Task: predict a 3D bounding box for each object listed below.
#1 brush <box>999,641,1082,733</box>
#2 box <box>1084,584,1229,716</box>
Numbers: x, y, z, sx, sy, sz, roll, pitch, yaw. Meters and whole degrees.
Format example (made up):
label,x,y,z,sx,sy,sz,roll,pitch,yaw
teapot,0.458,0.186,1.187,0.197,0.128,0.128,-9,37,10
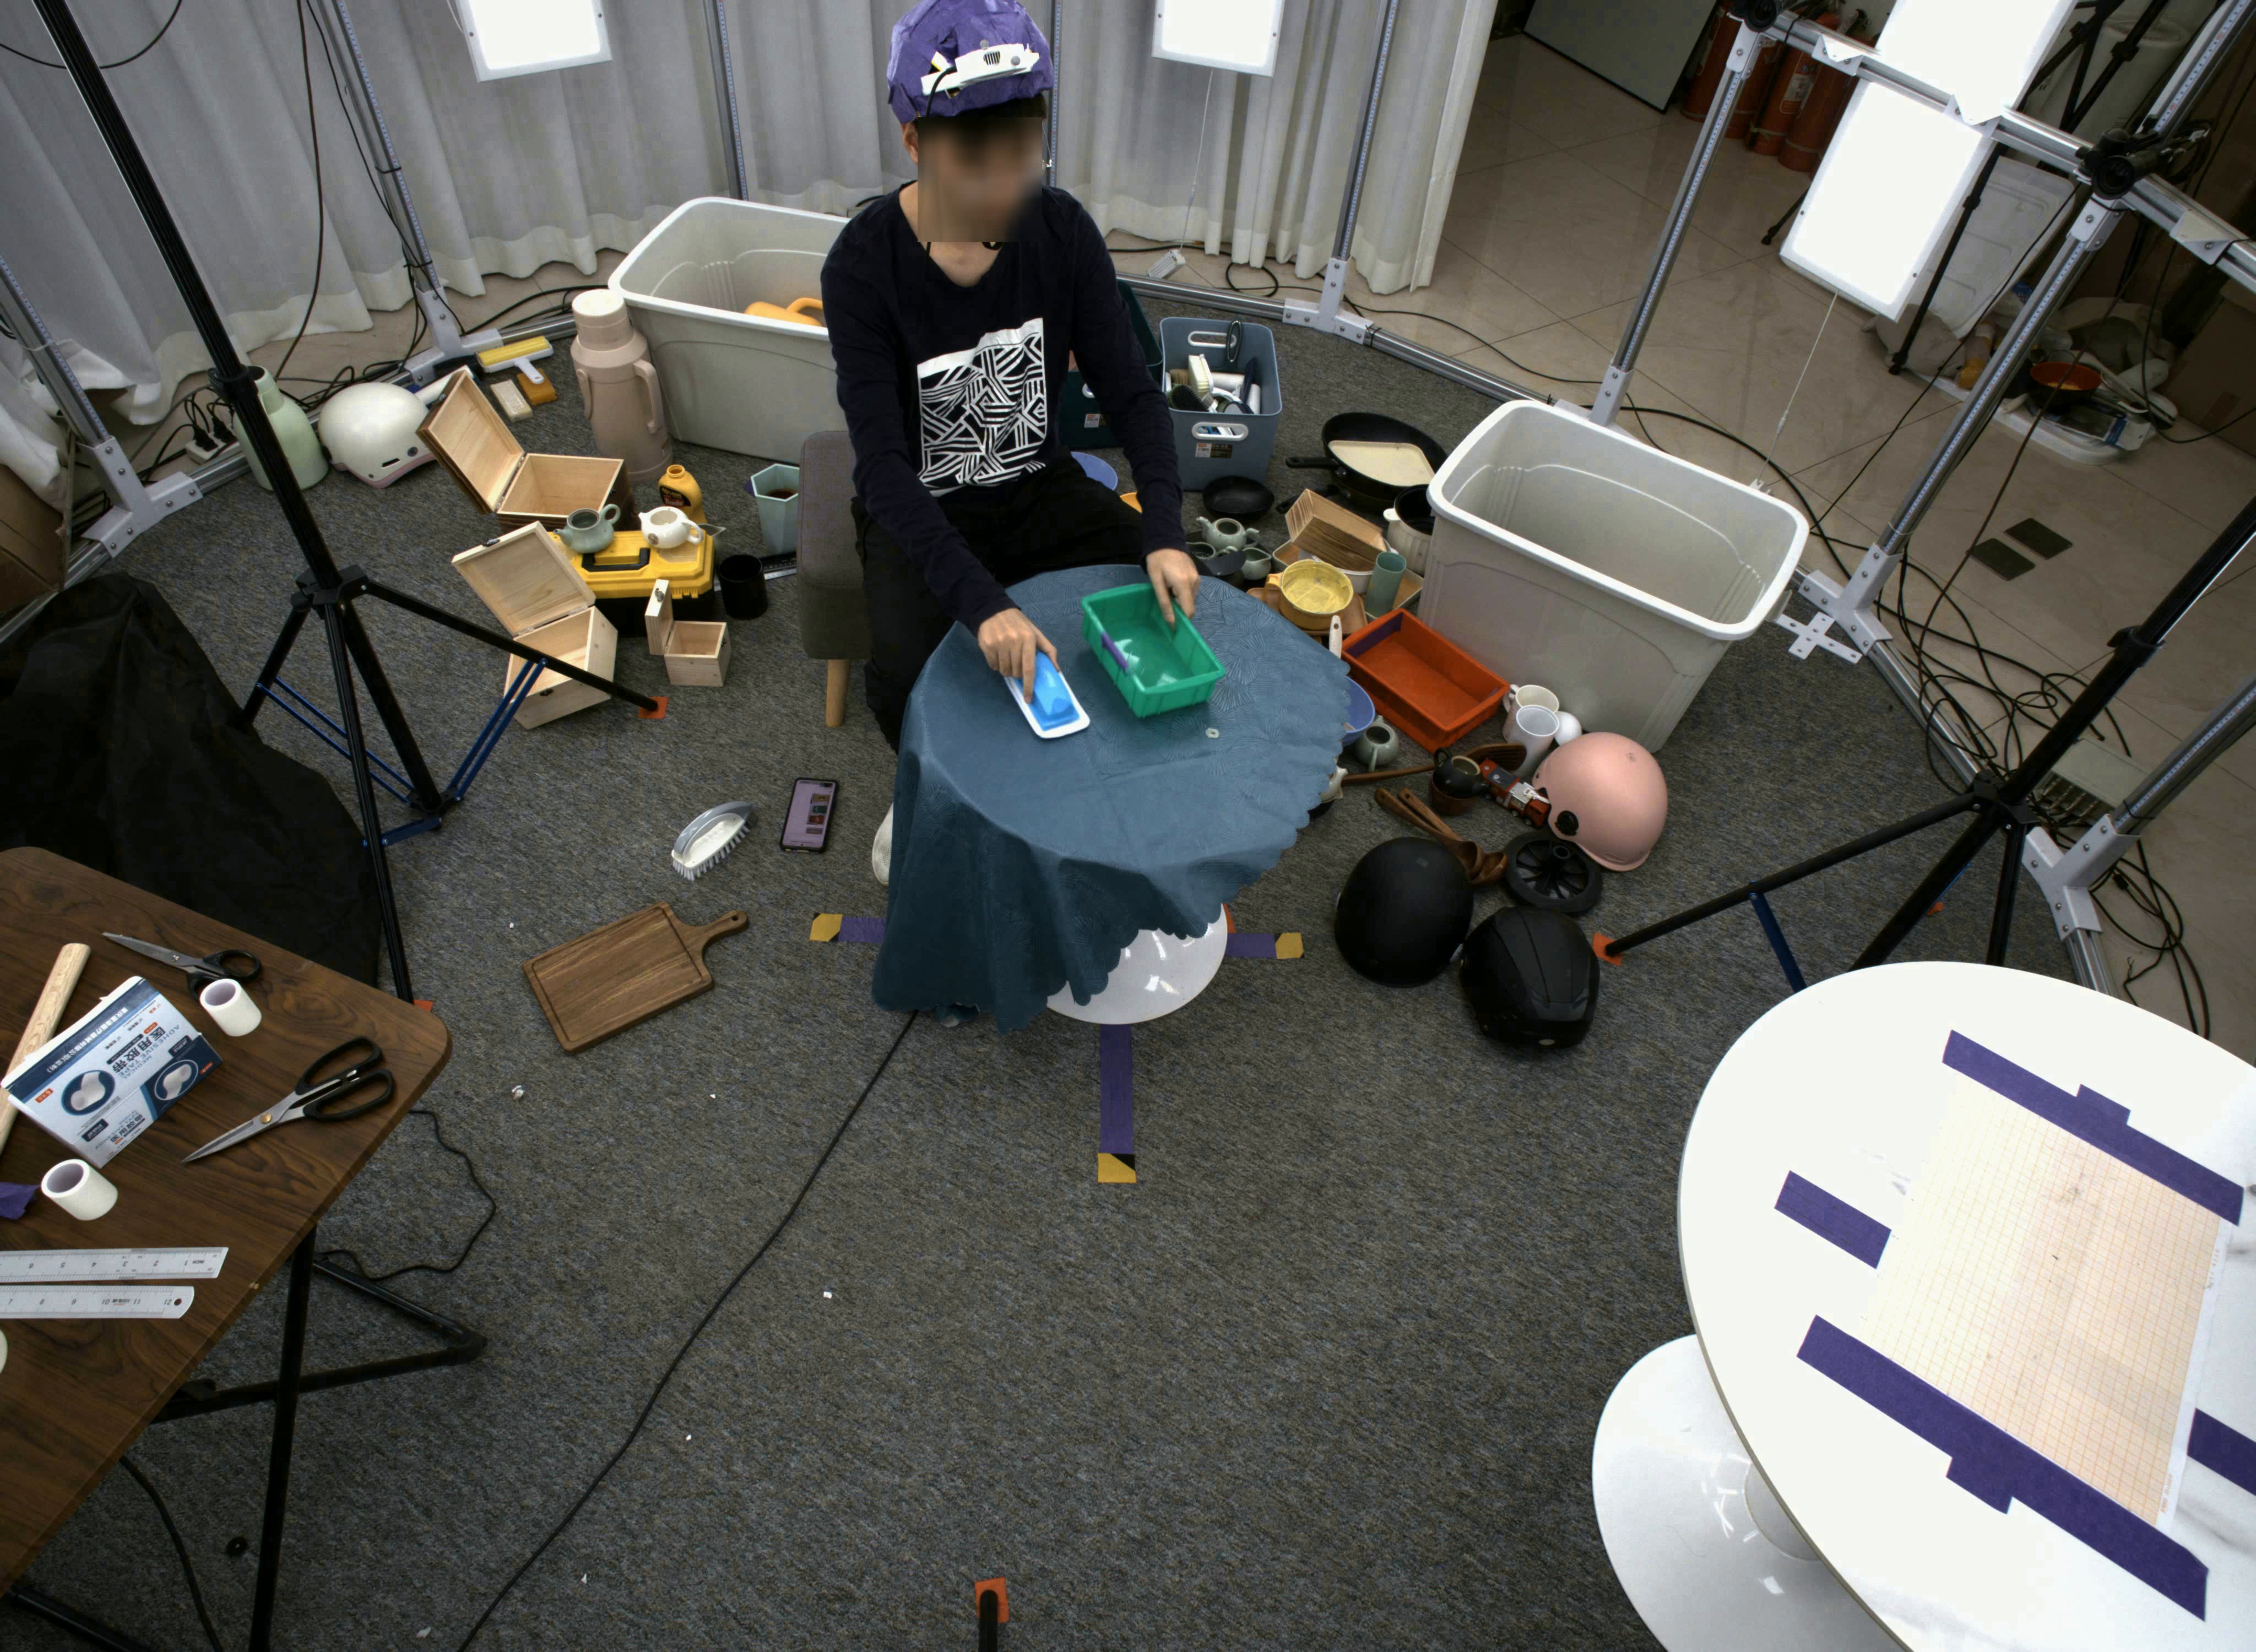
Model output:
label,x,y,z,sx,sy,sz,roll,pitch,yaw
brush,-0.119,-0.201,1.781,0.084,0.055,0.146,-18,66,-16
box,0.034,-0.249,1.825,0.139,0.064,0.215,-16,54,-25
